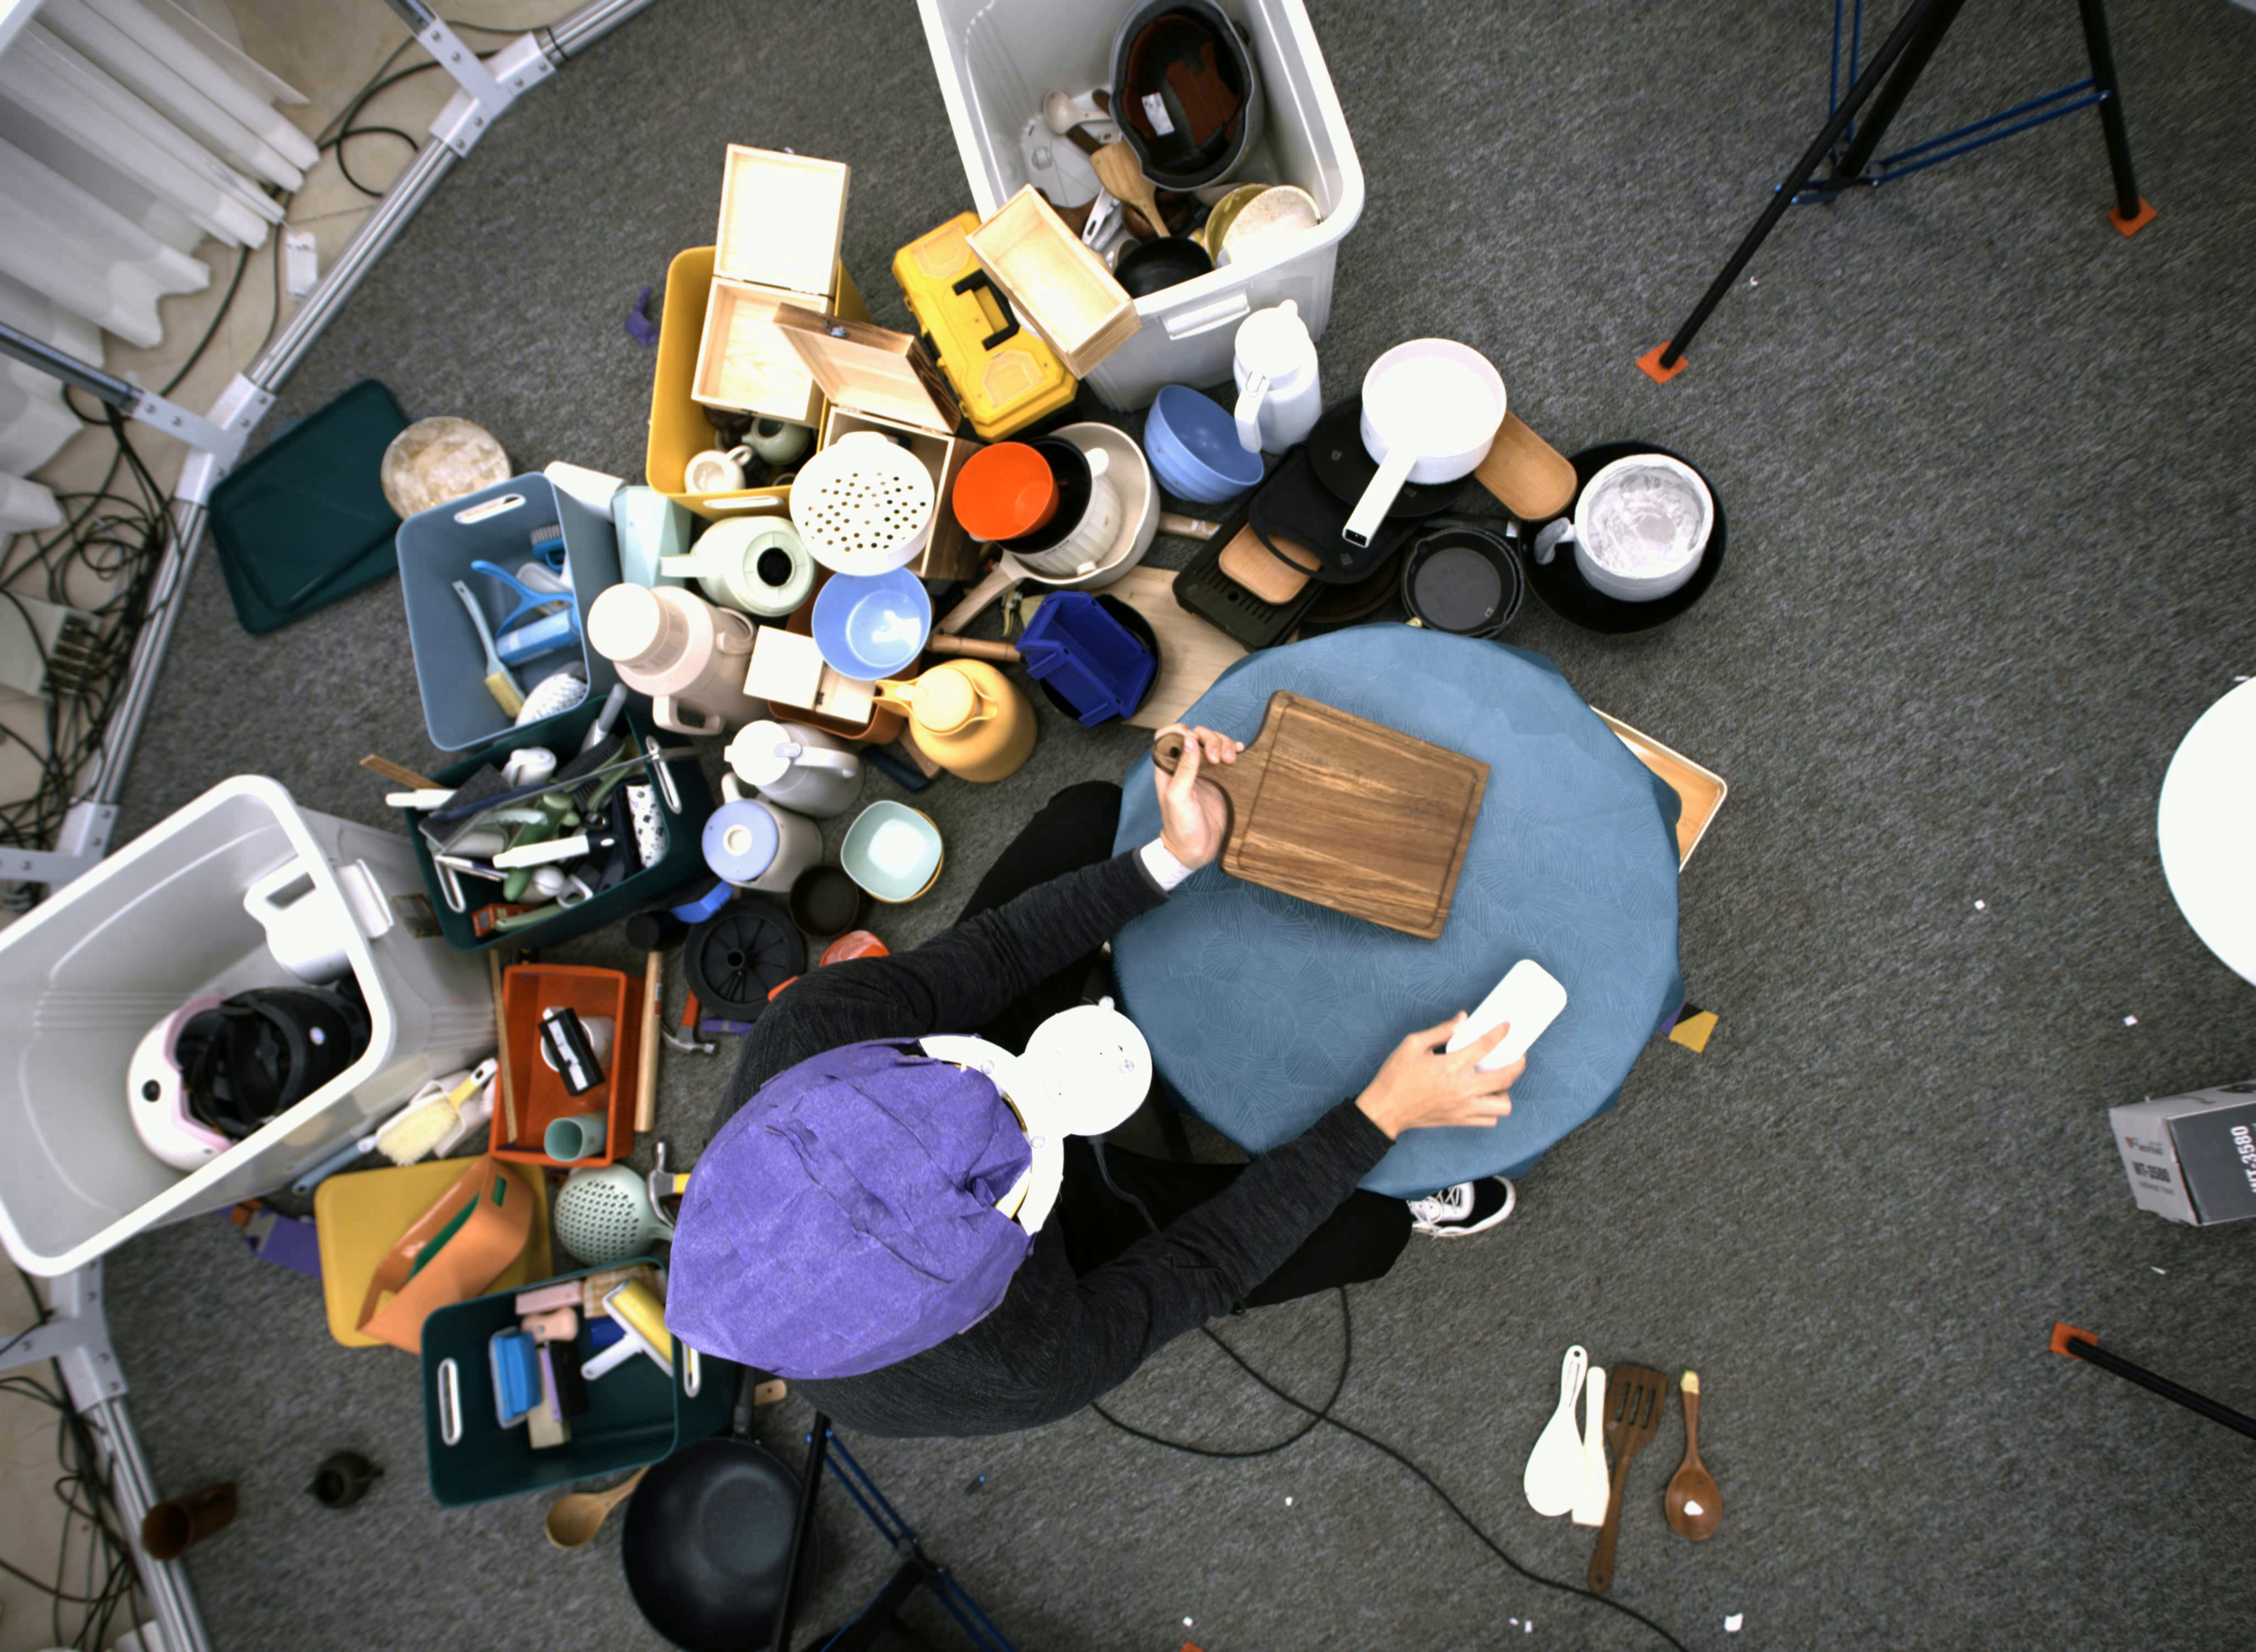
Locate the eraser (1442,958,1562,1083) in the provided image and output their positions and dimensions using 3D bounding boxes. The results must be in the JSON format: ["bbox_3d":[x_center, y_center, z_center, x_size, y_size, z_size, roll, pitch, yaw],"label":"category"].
[{"bbox_3d":[0.378,0.193,1.397,0.063,0.034,0.131,42,91,4],"label":"eraser"}]

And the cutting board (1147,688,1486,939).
[{"bbox_3d":[0.186,-0.026,1.400,0.352,0.023,0.201,18,90,-13],"label":"cutting board"}]
